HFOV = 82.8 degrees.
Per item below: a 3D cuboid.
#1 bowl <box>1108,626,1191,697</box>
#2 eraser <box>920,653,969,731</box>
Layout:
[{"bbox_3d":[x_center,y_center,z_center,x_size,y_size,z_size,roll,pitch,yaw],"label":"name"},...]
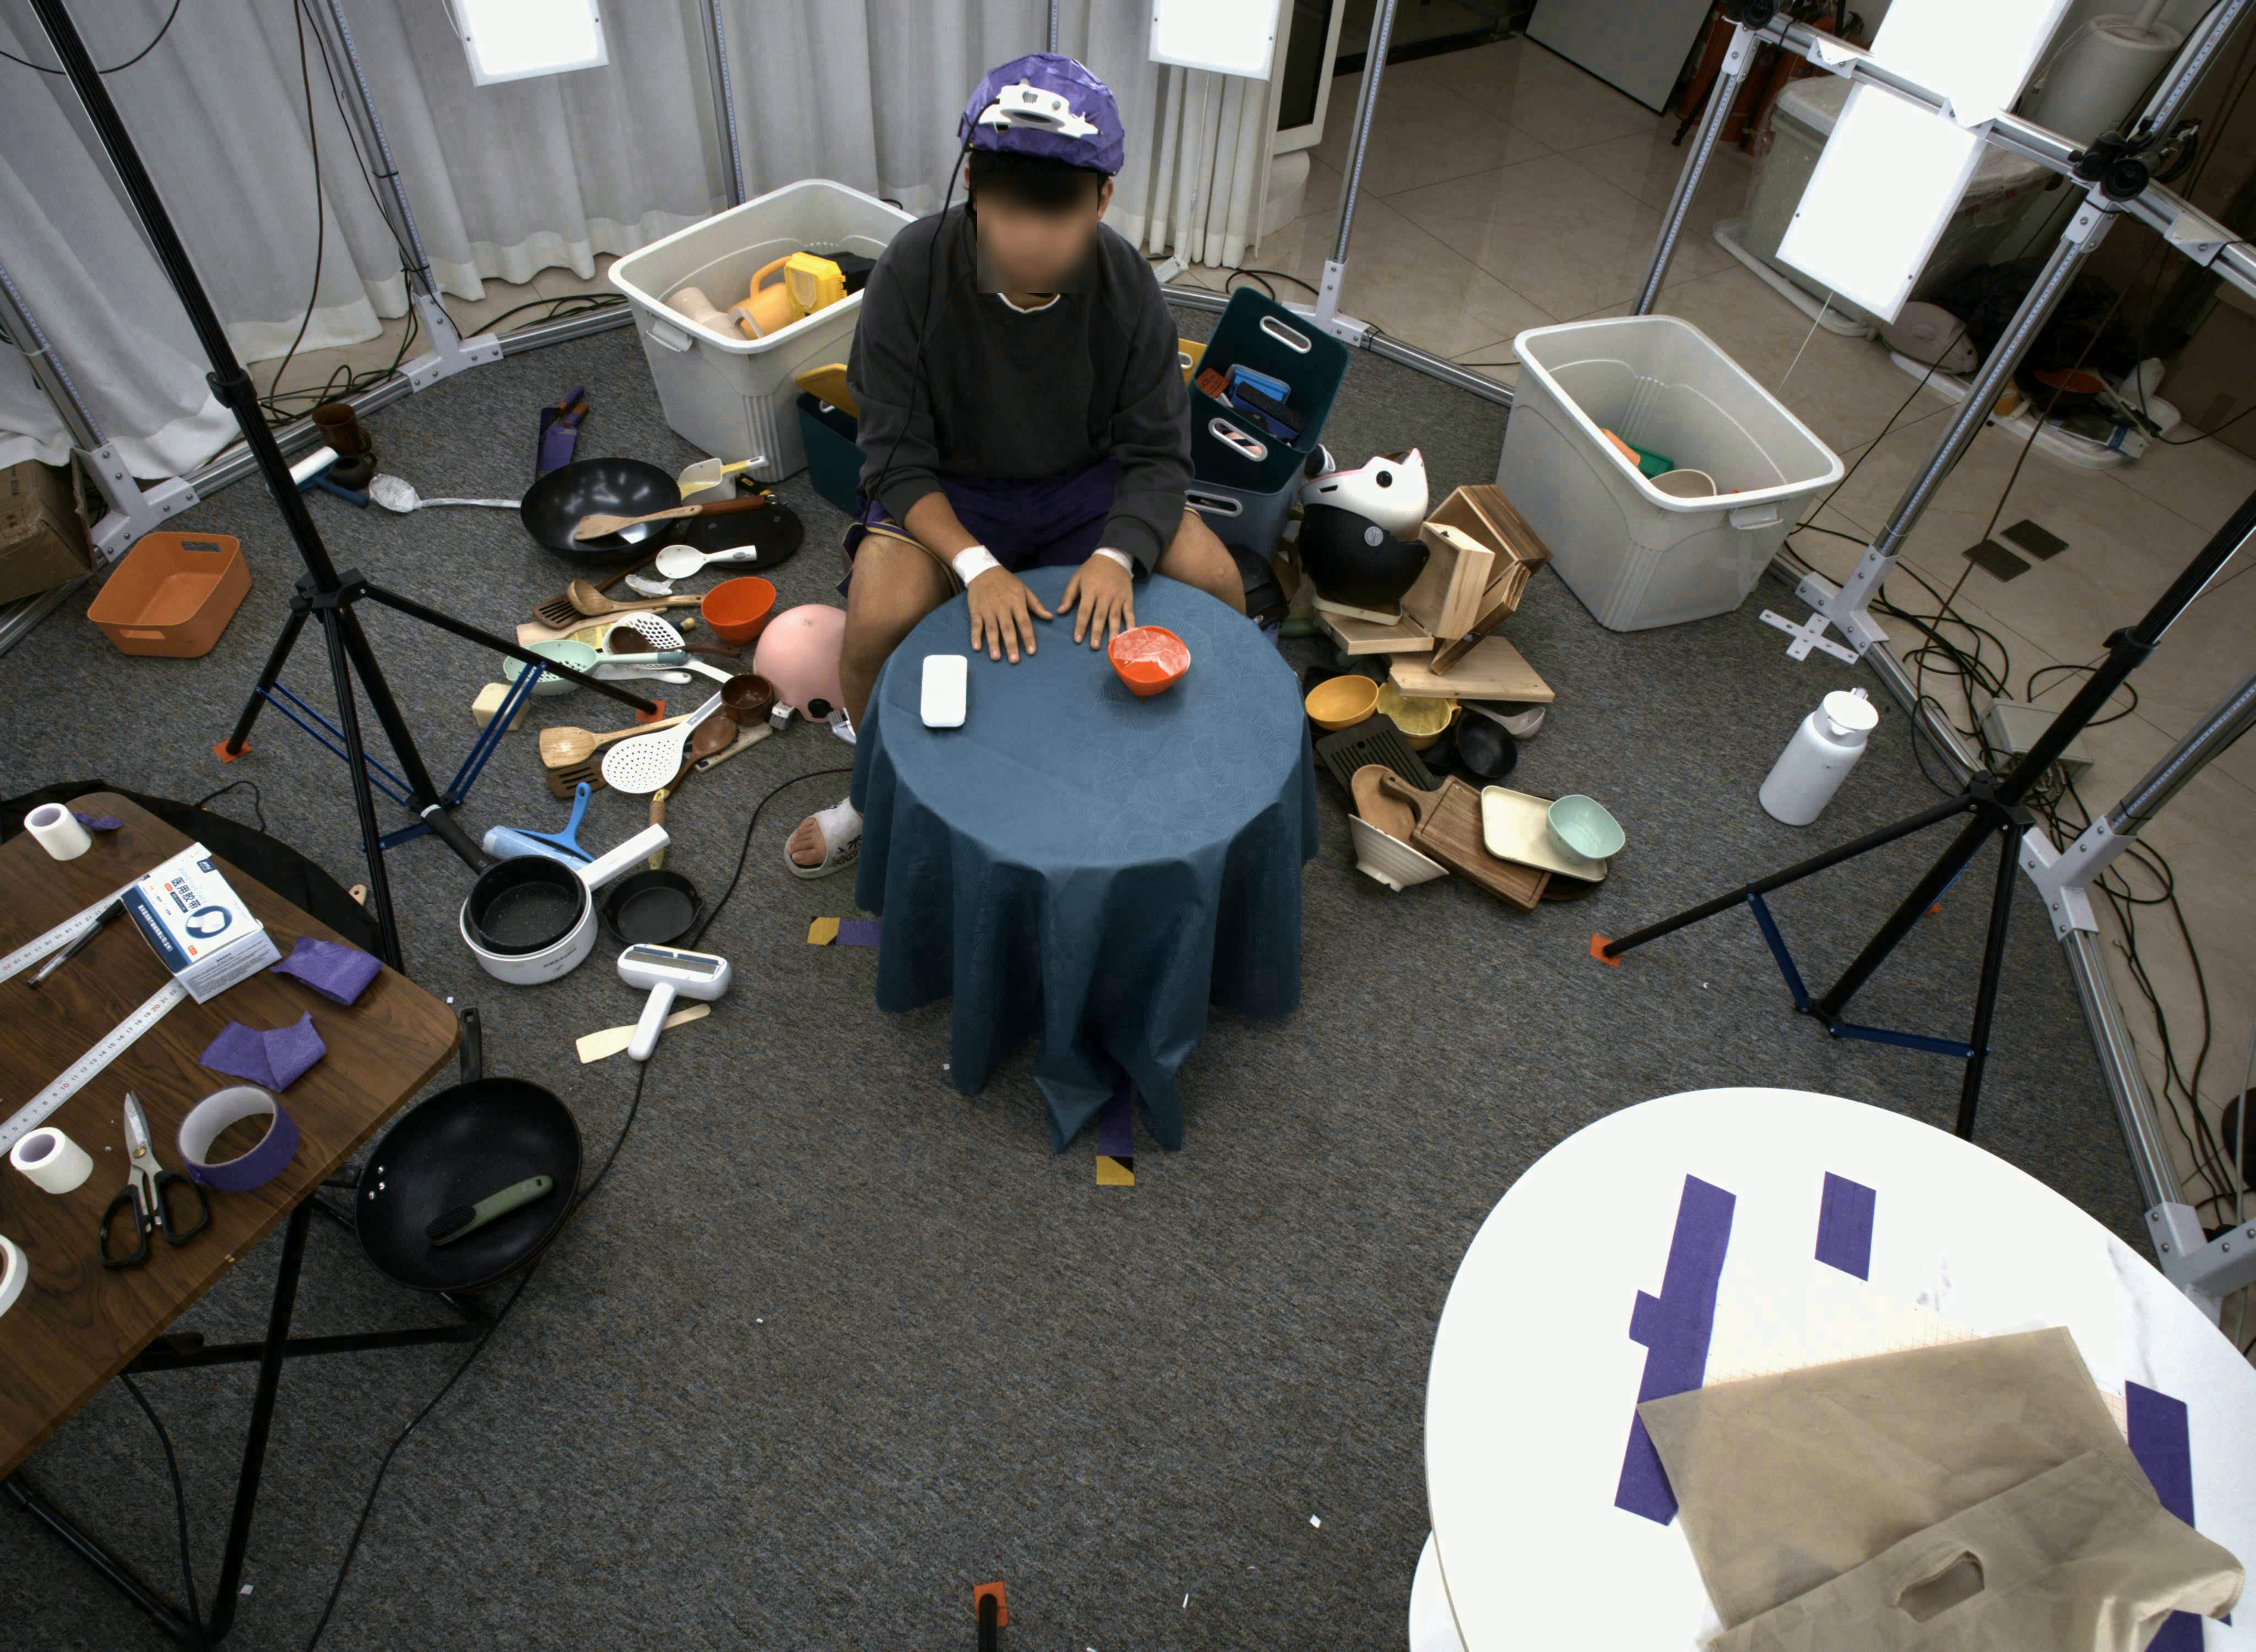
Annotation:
[{"bbox_3d":[0.029,-0.229,1.835,0.119,0.050,0.122,1,49,-2],"label":"bowl"},{"bbox_3d":[-0.253,-0.190,1.793,0.063,0.034,0.134,2,51,-4],"label":"eraser"}]
